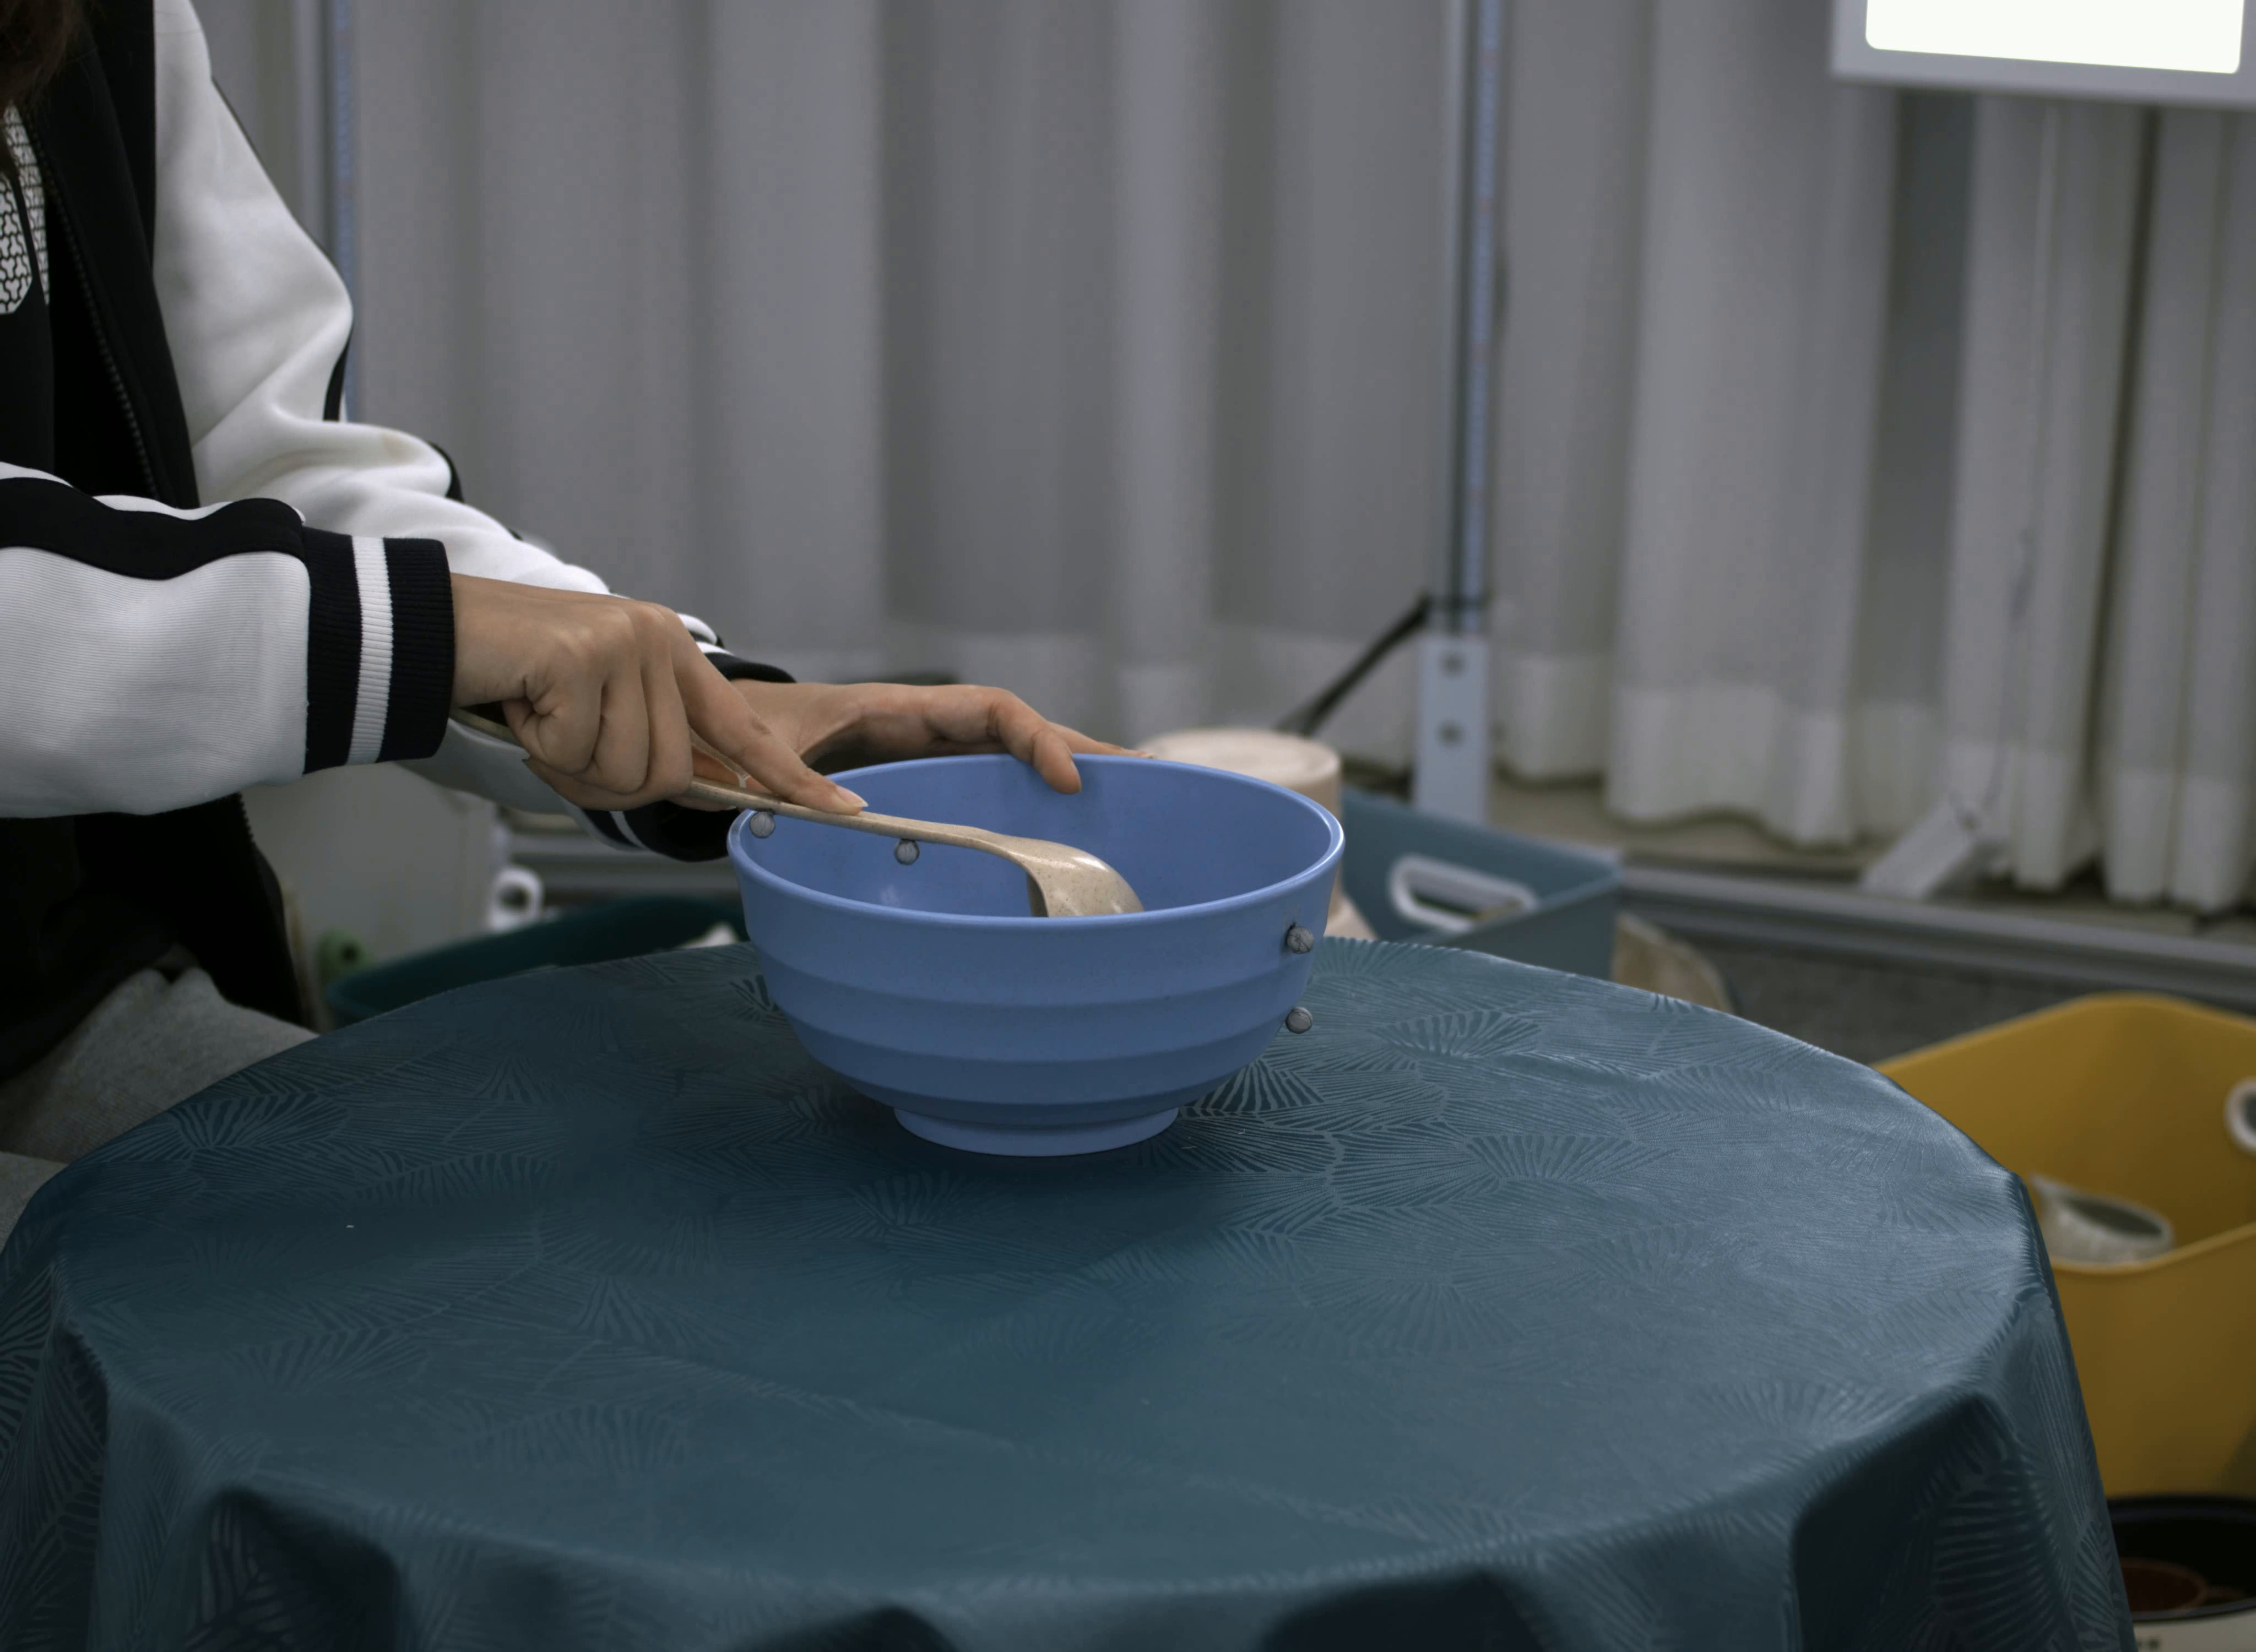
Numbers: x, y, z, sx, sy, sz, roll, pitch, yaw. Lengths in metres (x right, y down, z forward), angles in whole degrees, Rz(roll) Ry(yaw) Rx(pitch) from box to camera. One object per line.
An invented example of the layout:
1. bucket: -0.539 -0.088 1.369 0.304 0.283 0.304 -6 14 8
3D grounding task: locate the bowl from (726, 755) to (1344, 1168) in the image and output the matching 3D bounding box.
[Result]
1. bowl: -0.029 0.050 1.682 0.196 0.096 0.195 -1 17 1

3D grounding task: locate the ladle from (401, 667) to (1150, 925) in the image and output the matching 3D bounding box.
1. ladle: -0.116 0.017 1.672 0.255 0.073 0.071 15 13 -10
